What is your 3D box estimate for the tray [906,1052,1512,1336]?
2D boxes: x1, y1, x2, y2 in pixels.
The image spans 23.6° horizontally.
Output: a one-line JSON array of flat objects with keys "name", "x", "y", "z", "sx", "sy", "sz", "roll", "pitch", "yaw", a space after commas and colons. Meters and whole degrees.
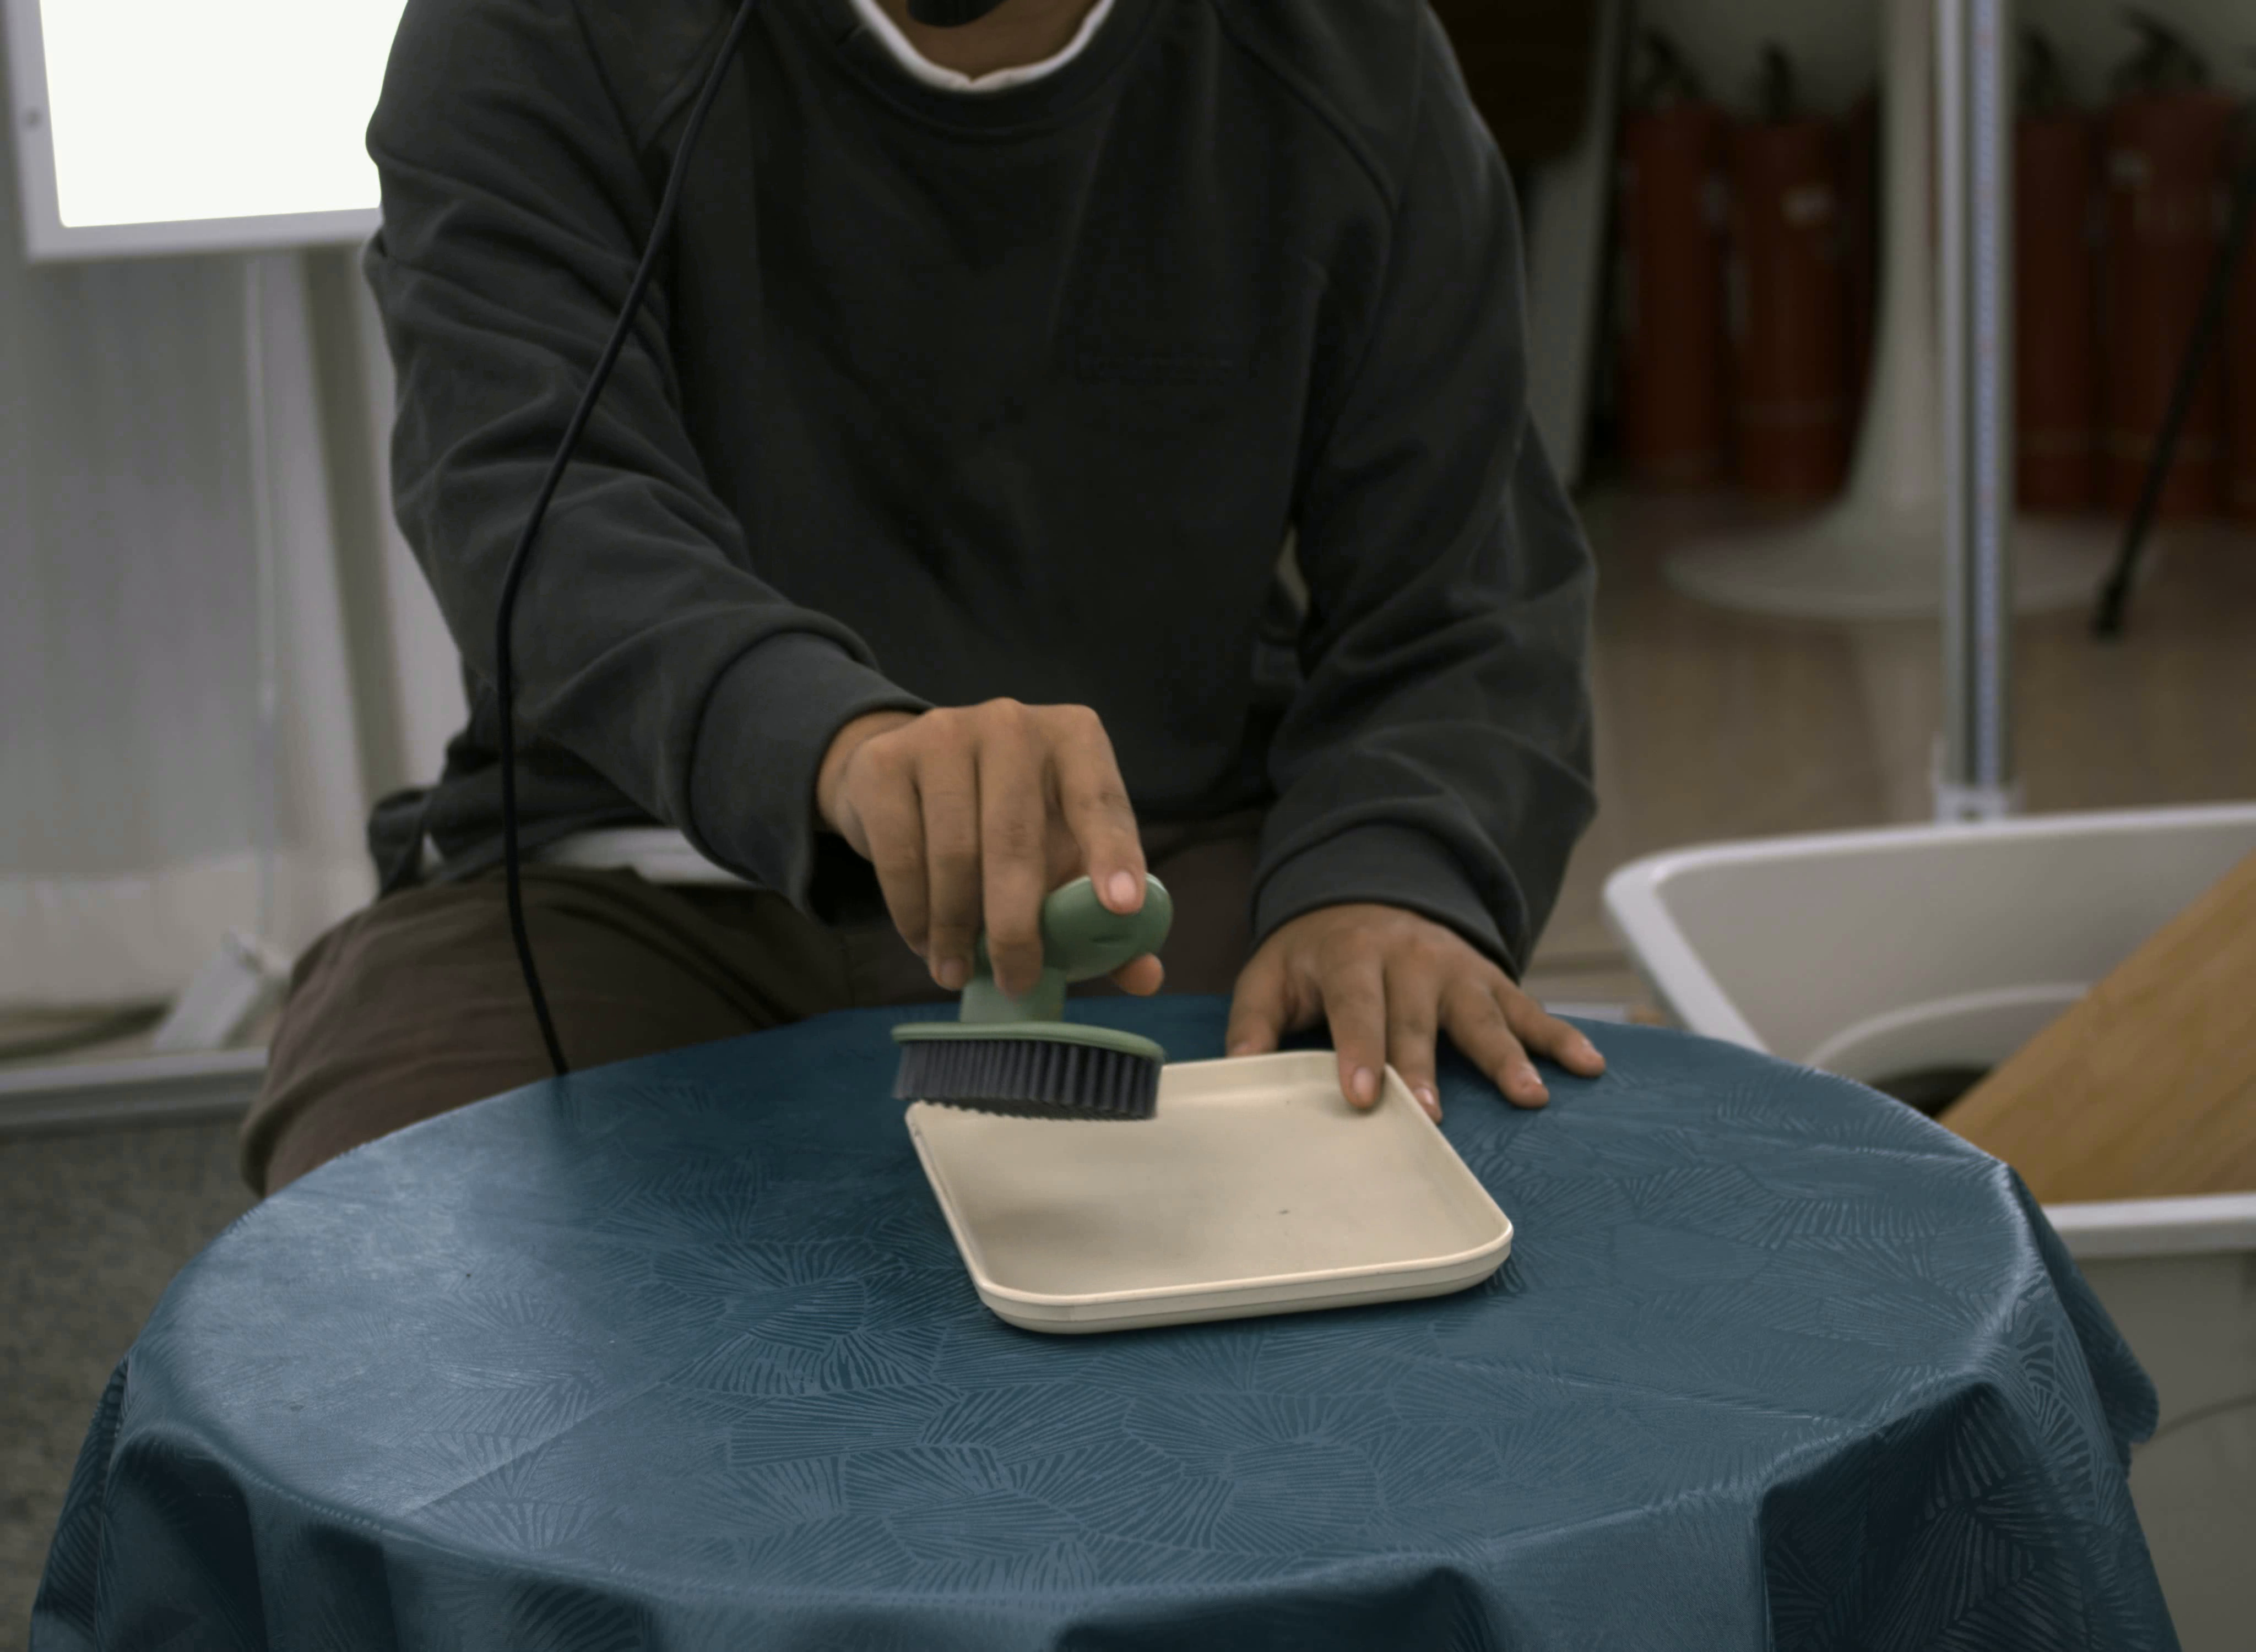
[{"name": "tray", "x": 0.023, "y": 0.118, "z": 1.743, "sx": 0.168, "sy": 0.017, "sz": 0.241, "roll": -5, "pitch": 14, "yaw": -7}]

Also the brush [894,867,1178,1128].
[{"name": "brush", "x": -0.028, "y": 0.064, "z": 1.698, "sx": 0.058, "sy": 0.077, "sz": 0.124, "roll": 12, "pitch": -21, "yaw": -31}]
